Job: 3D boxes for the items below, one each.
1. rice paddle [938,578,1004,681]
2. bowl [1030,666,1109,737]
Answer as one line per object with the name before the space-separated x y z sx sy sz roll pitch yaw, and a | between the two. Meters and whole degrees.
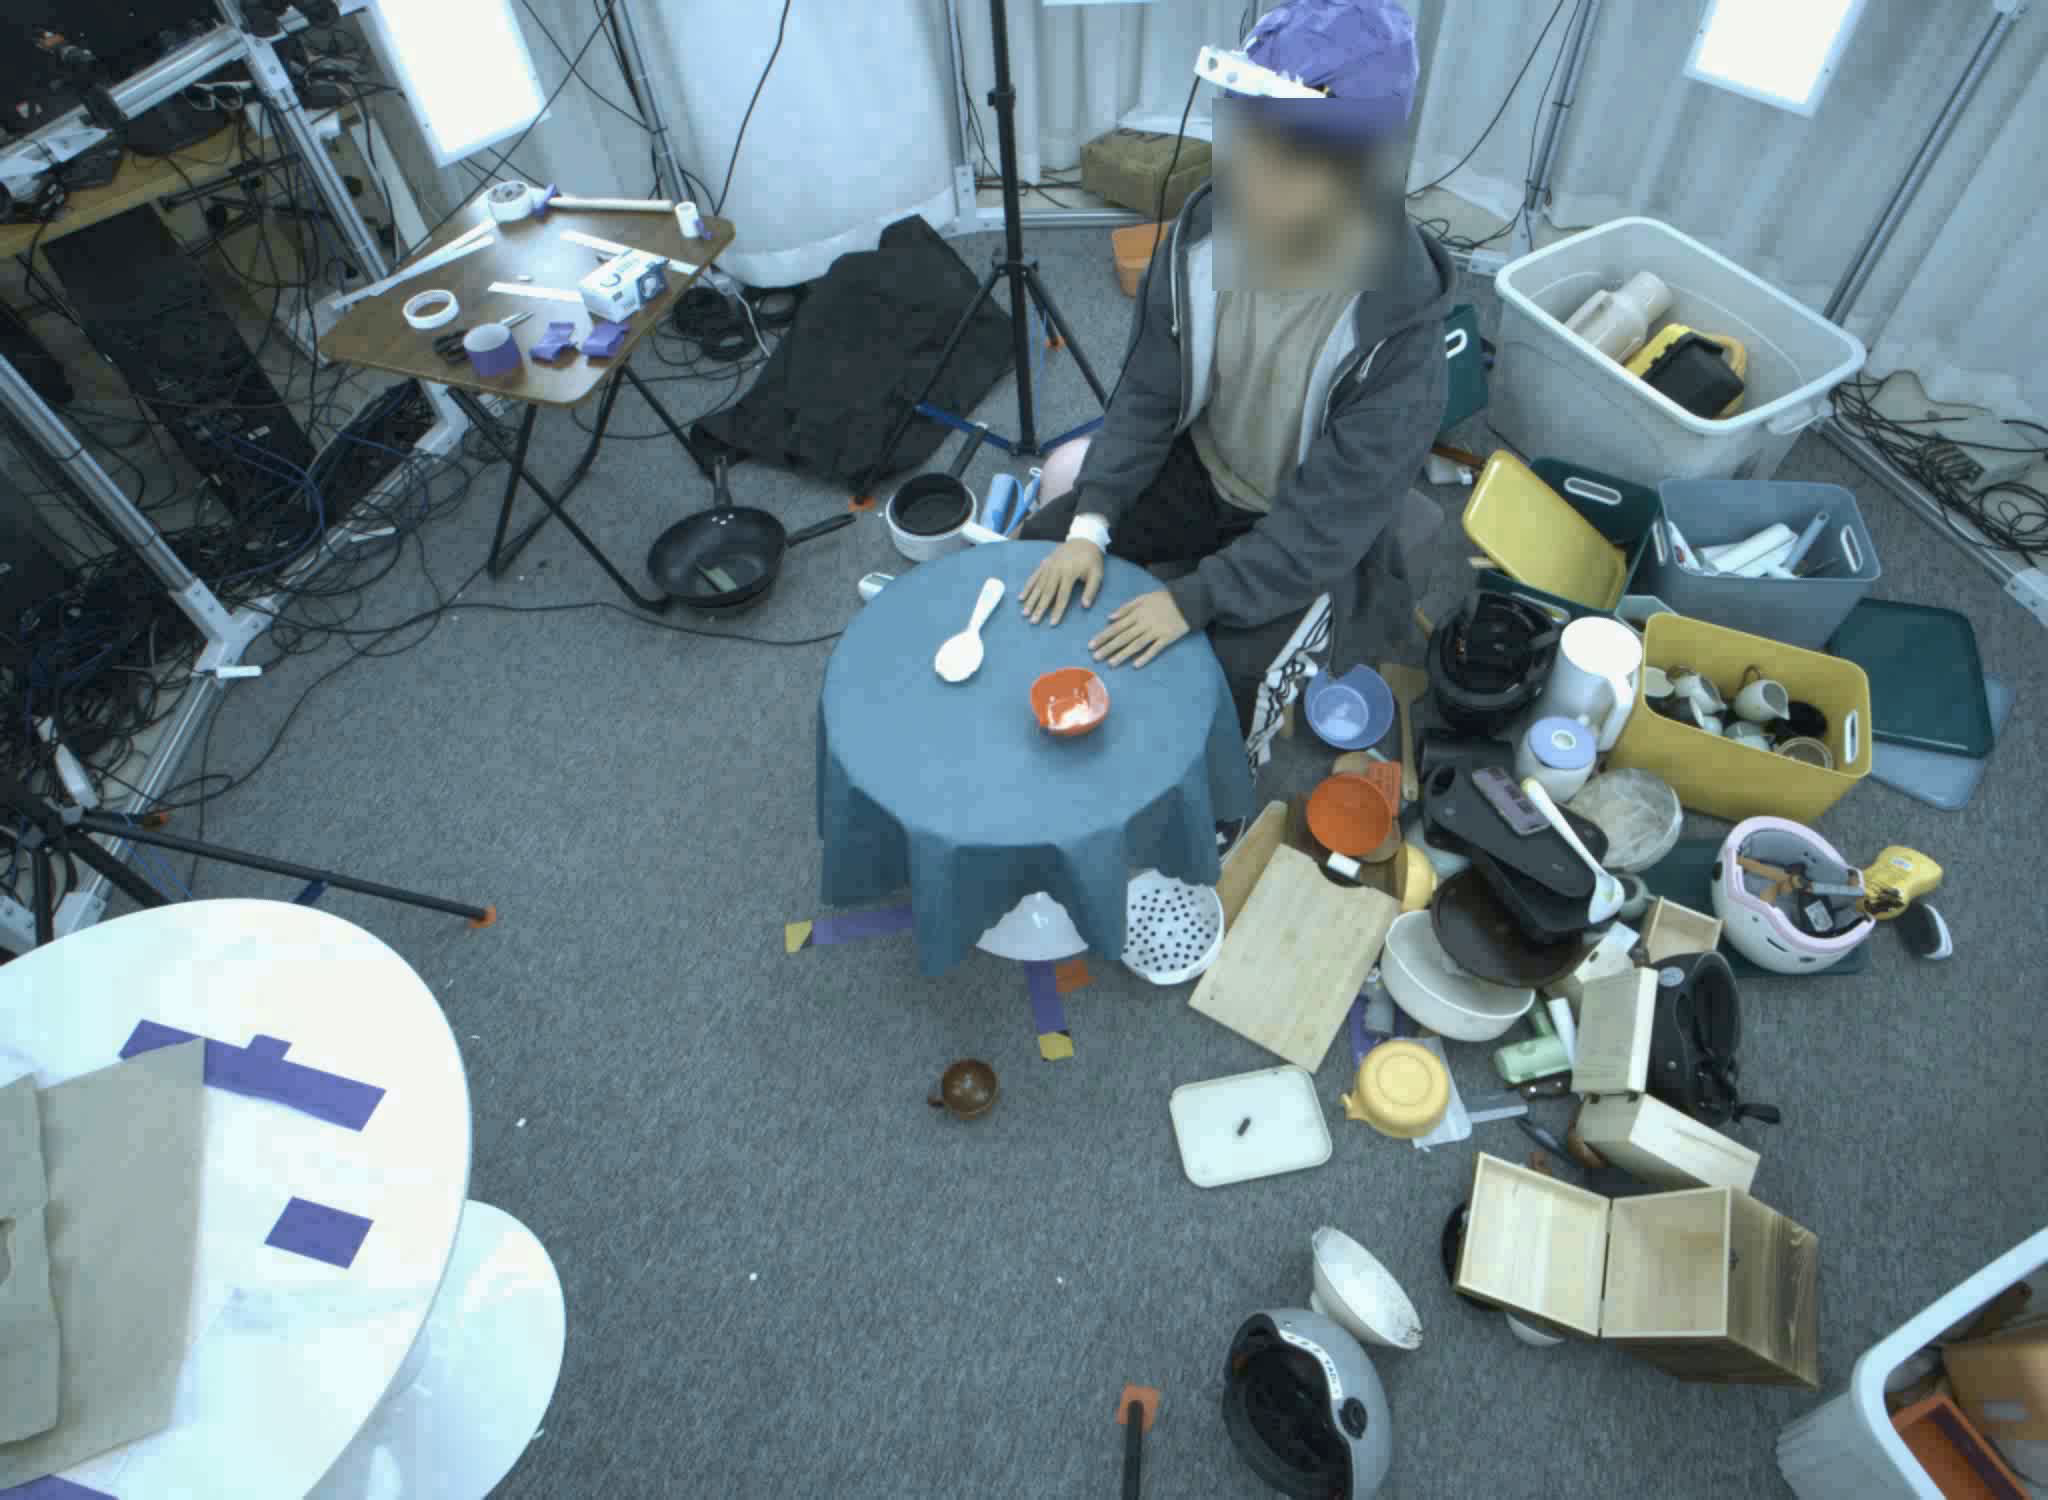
rice paddle | -0.078 -0.187 1.907 0.068 0.030 0.205 13 56 13
bowl | 0.067 -0.062 1.799 0.119 0.052 0.118 -1 55 3
